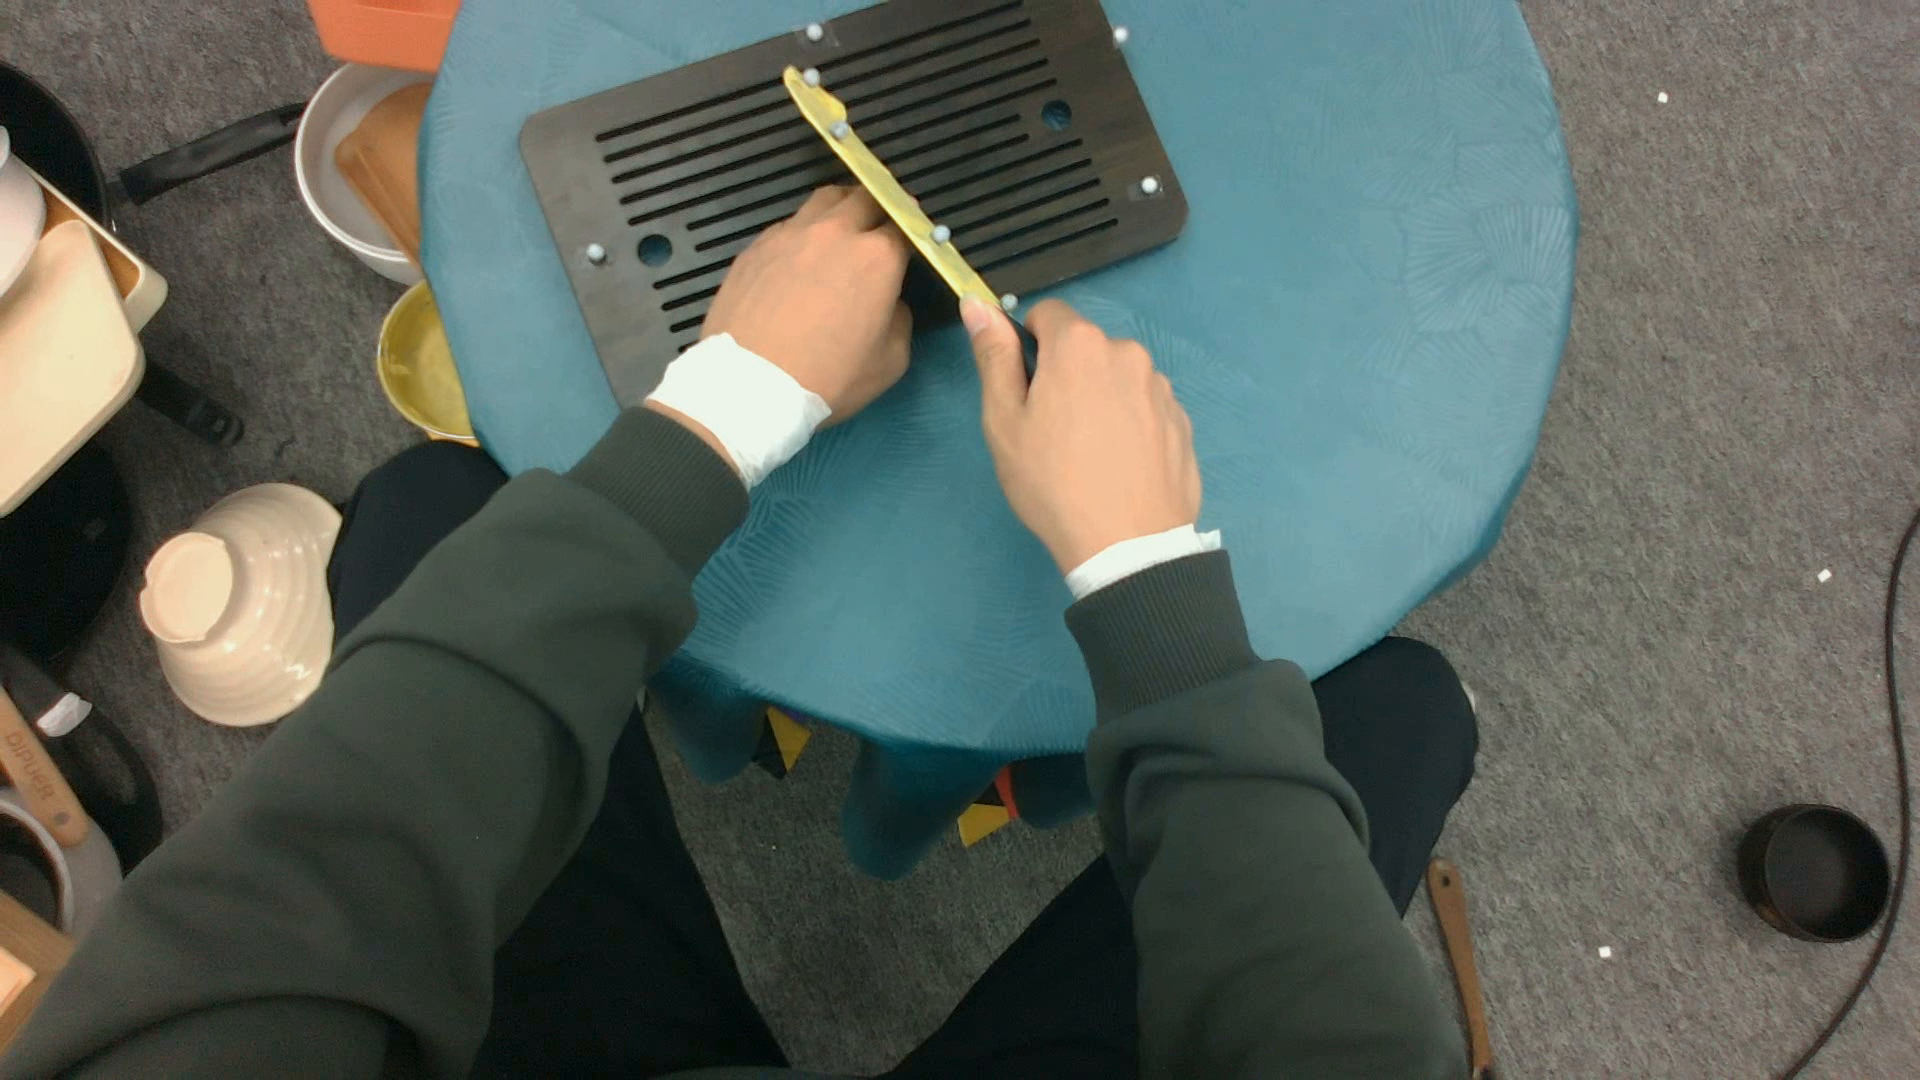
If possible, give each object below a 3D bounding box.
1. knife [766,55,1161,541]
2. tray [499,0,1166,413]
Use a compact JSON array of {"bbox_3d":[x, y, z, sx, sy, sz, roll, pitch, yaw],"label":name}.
[{"bbox_3d":[-0.002,-0.117,0.636,0.027,0.081,0.289,-40,82,18],"label":"knife"},{"bbox_3d":[-0.061,-0.189,0.700,0.306,0.018,0.170,-21,82,-9],"label":"tray"}]
